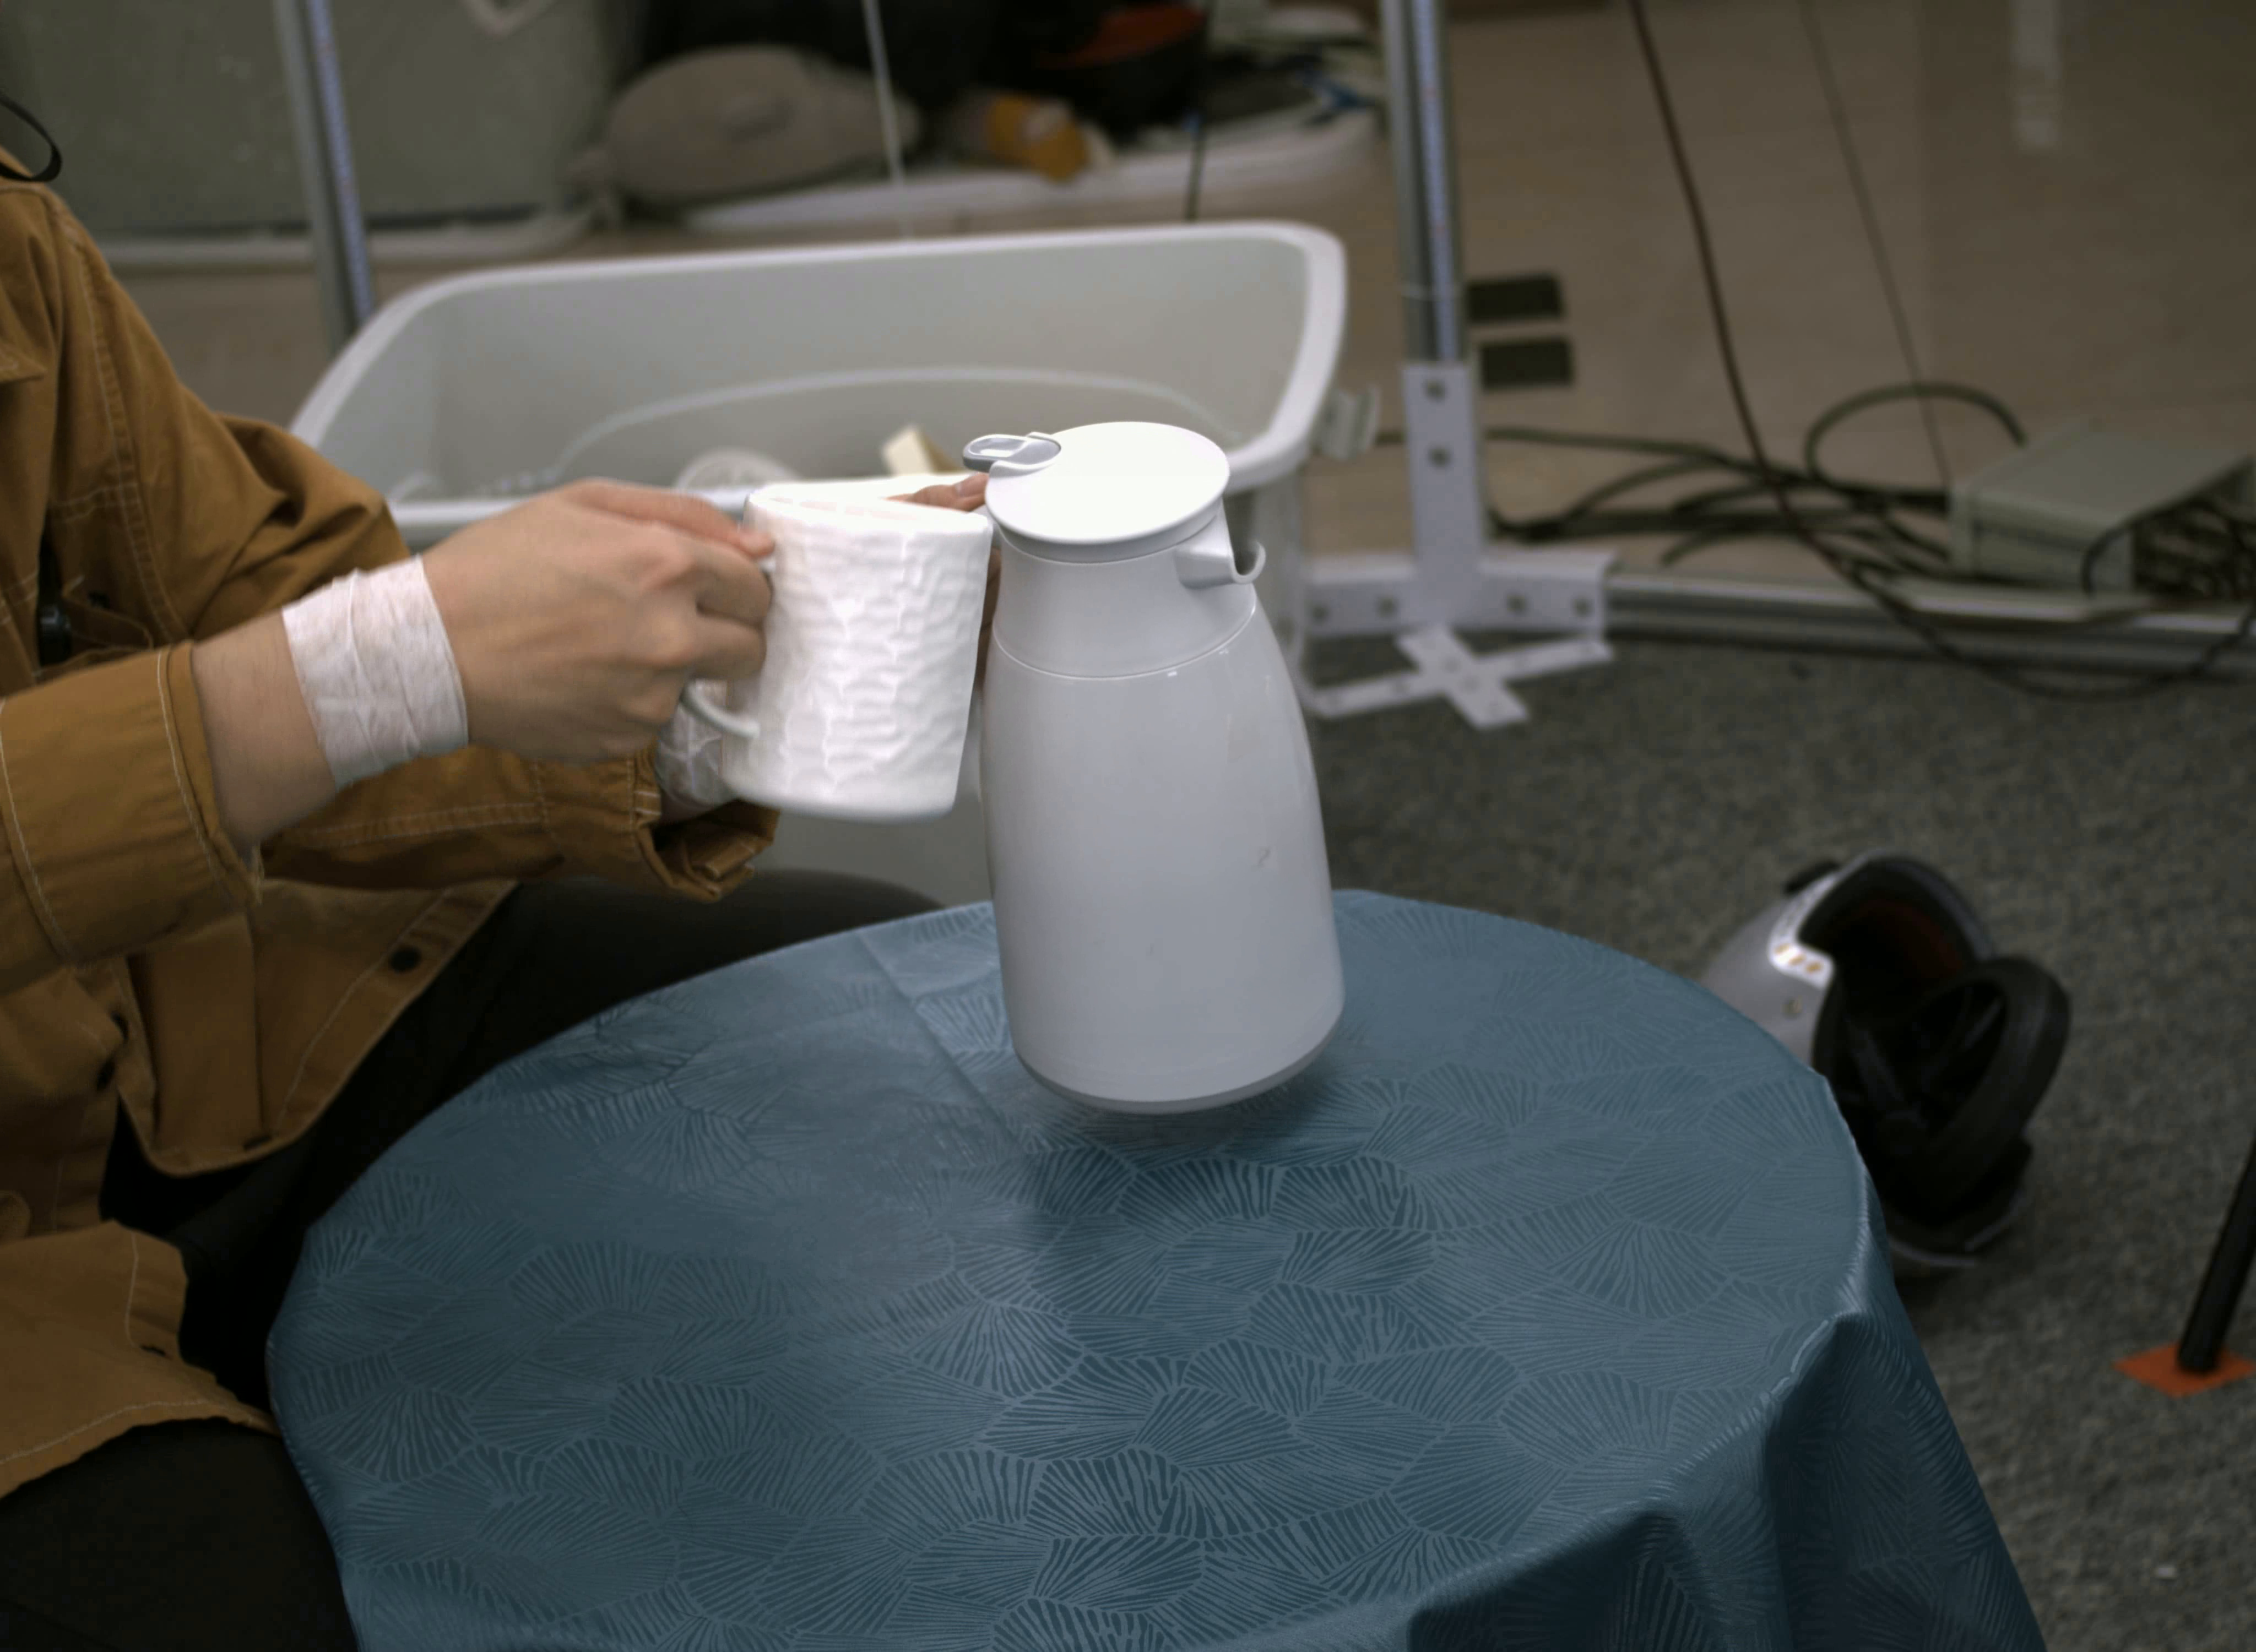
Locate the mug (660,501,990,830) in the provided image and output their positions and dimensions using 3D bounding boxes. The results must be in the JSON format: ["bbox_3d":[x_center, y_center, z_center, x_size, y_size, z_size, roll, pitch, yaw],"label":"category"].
[{"bbox_3d":[-0.108,-0.056,1.936,0.118,0.103,0.084,-1,13,-39],"label":"mug"}]

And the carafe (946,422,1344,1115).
[{"bbox_3d":[-0.010,-0.032,2.155,0.166,0.253,0.131,15,39,32],"label":"carafe"}]
